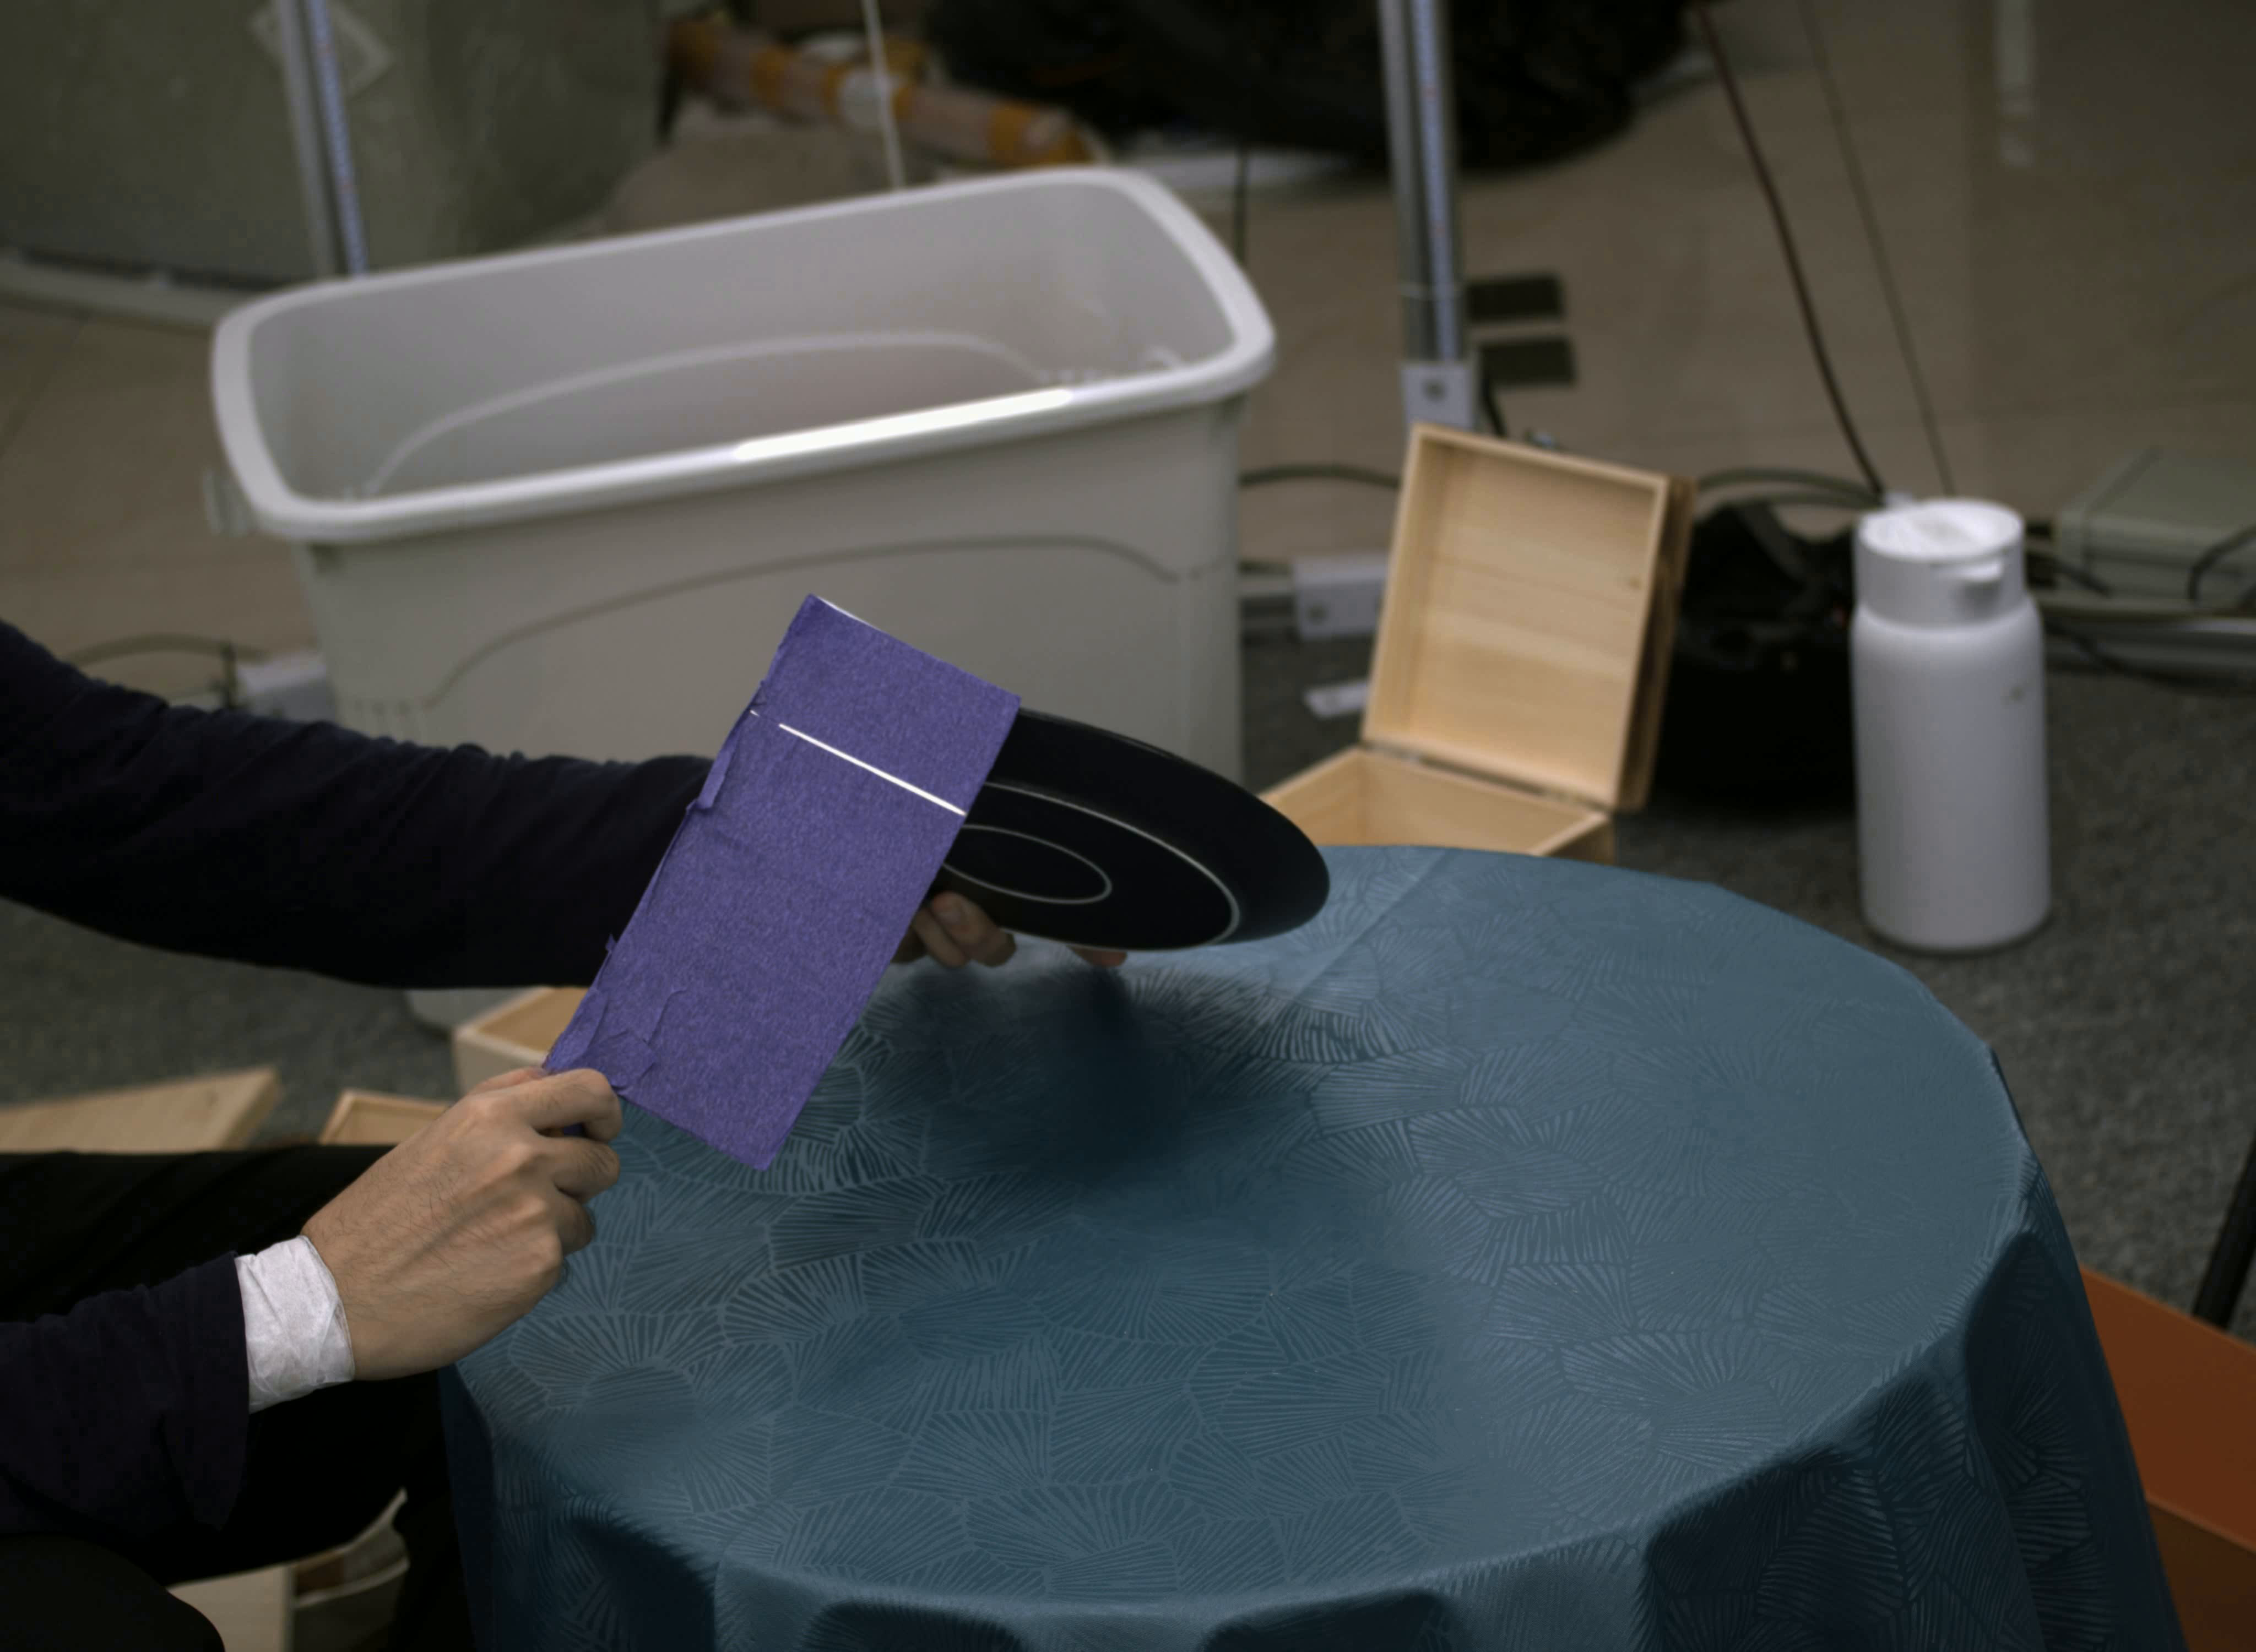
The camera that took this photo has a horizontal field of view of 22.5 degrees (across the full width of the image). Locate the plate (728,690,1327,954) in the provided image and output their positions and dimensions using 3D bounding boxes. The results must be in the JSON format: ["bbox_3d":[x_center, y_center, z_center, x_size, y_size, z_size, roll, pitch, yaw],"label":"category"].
[{"bbox_3d":[-0.042,0.005,2.215,0.243,0.247,0.023,6,69,25],"label":"plate"}]

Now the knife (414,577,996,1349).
[{"bbox_3d":[-0.147,0.060,2.052,0.104,0.032,0.313,27,75,1],"label":"knife"}]
